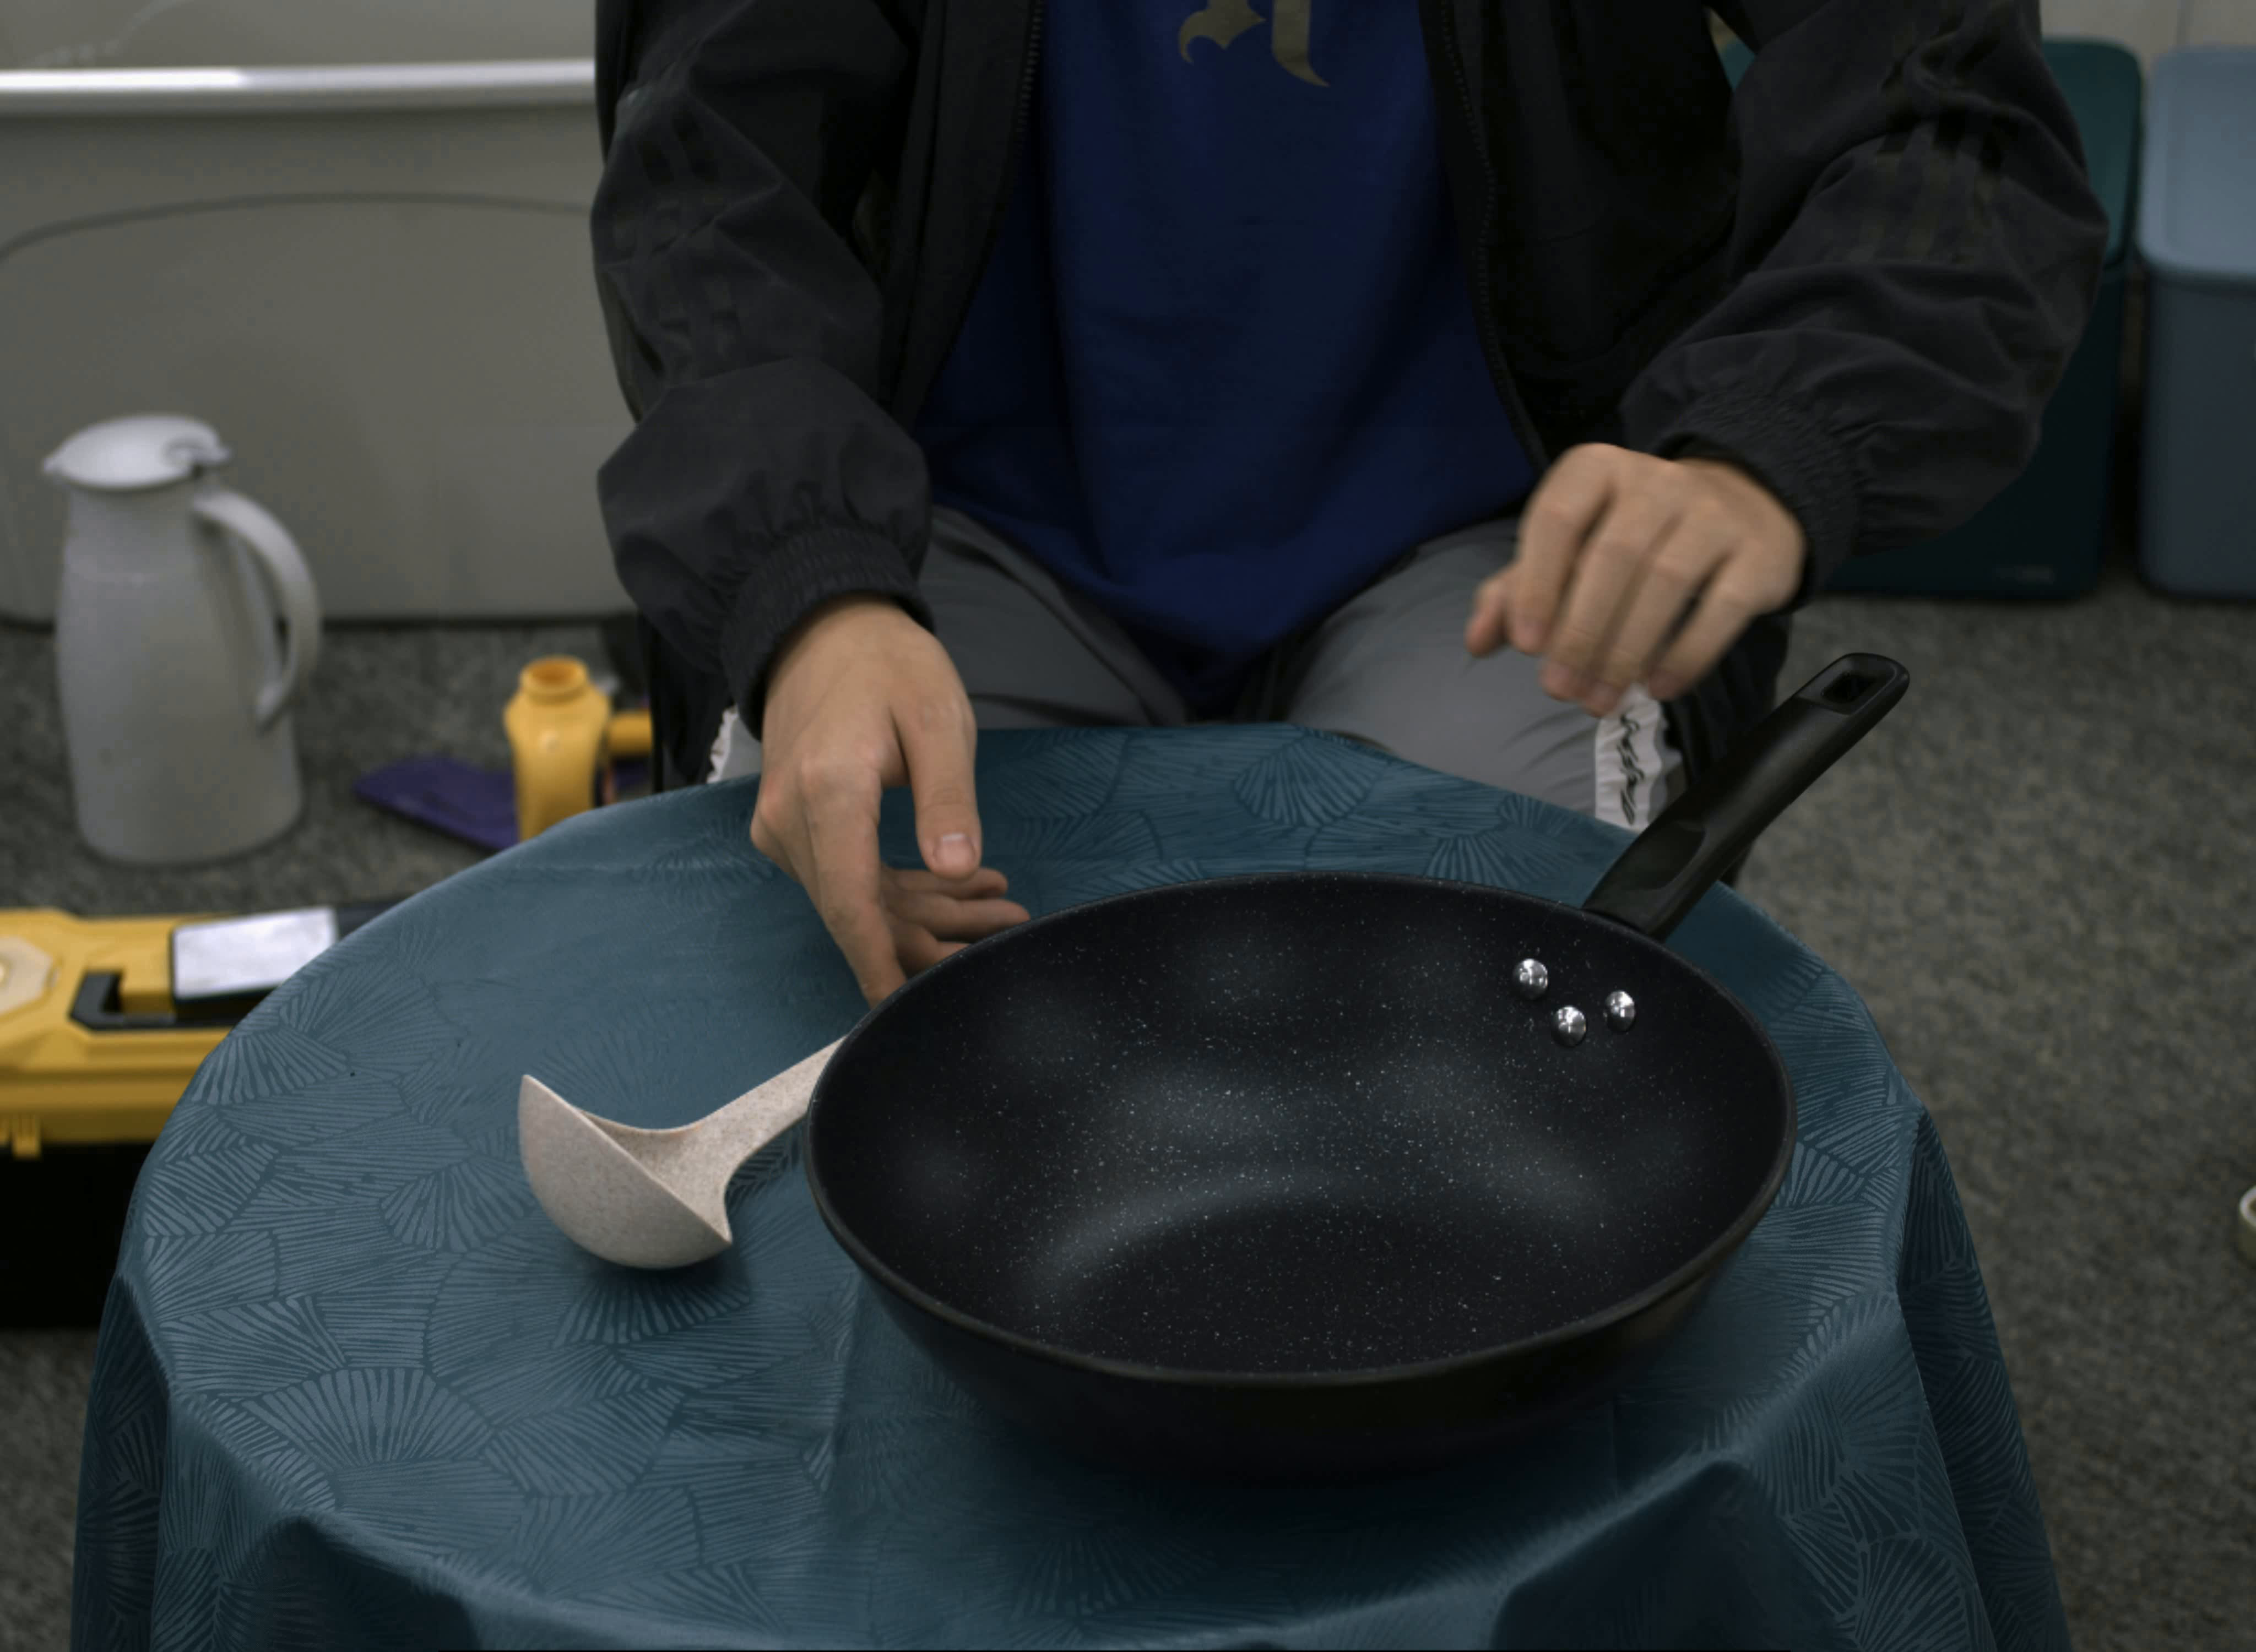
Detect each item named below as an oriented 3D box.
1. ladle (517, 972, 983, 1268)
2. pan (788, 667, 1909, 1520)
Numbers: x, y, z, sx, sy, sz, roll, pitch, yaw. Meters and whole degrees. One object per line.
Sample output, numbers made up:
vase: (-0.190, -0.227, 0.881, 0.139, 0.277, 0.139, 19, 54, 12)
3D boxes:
ladle: (-0.094, 0.071, 1.898, 0.089, 0.068, 0.278, 32, 39, 27)
pan: (0.105, 0.085, 1.807, 0.309, 0.110, 0.483, 21, 36, 36)
